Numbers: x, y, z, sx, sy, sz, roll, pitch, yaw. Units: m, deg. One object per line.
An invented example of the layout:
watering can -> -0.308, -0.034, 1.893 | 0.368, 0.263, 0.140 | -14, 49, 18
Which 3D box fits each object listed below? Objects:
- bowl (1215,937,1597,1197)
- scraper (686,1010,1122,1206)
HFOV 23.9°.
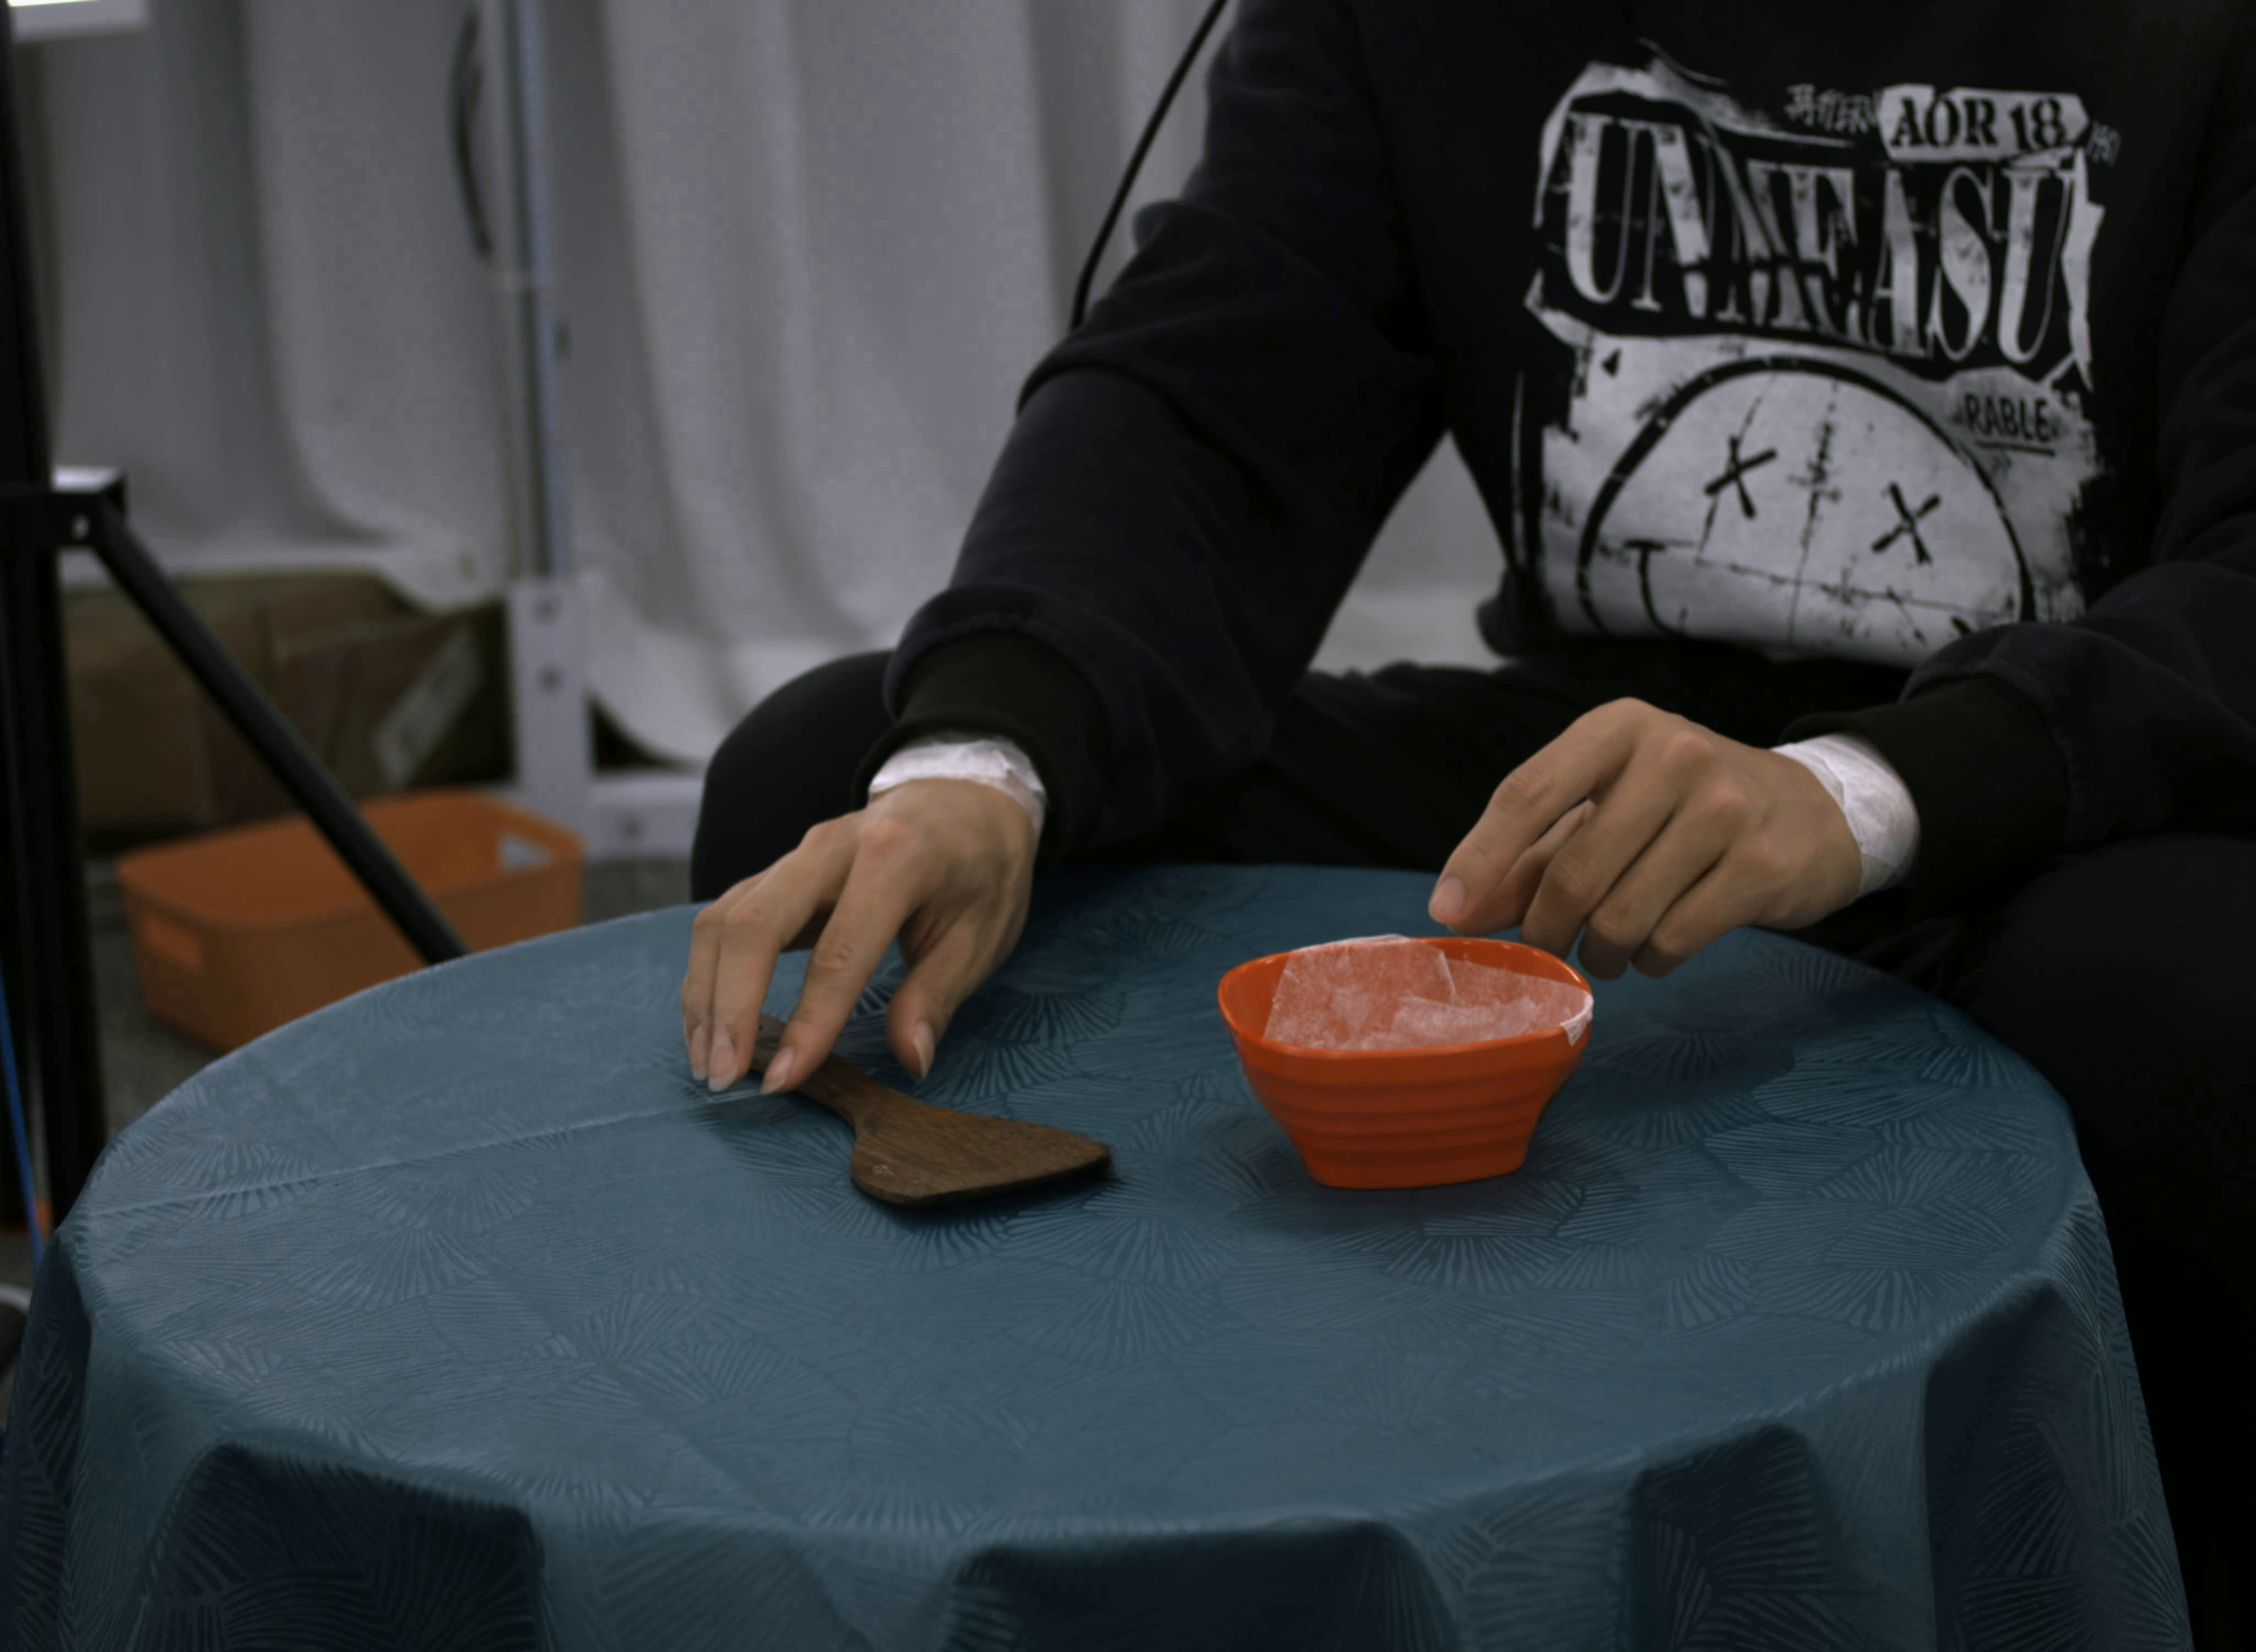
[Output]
bowl -> 0.083, 0.074, 1.575 | 0.118, 0.051, 0.119 | -4, 16, 0
scraper -> -0.081, 0.085, 1.638 | 0.074, 0.011, 0.216 | -10, 17, -28
